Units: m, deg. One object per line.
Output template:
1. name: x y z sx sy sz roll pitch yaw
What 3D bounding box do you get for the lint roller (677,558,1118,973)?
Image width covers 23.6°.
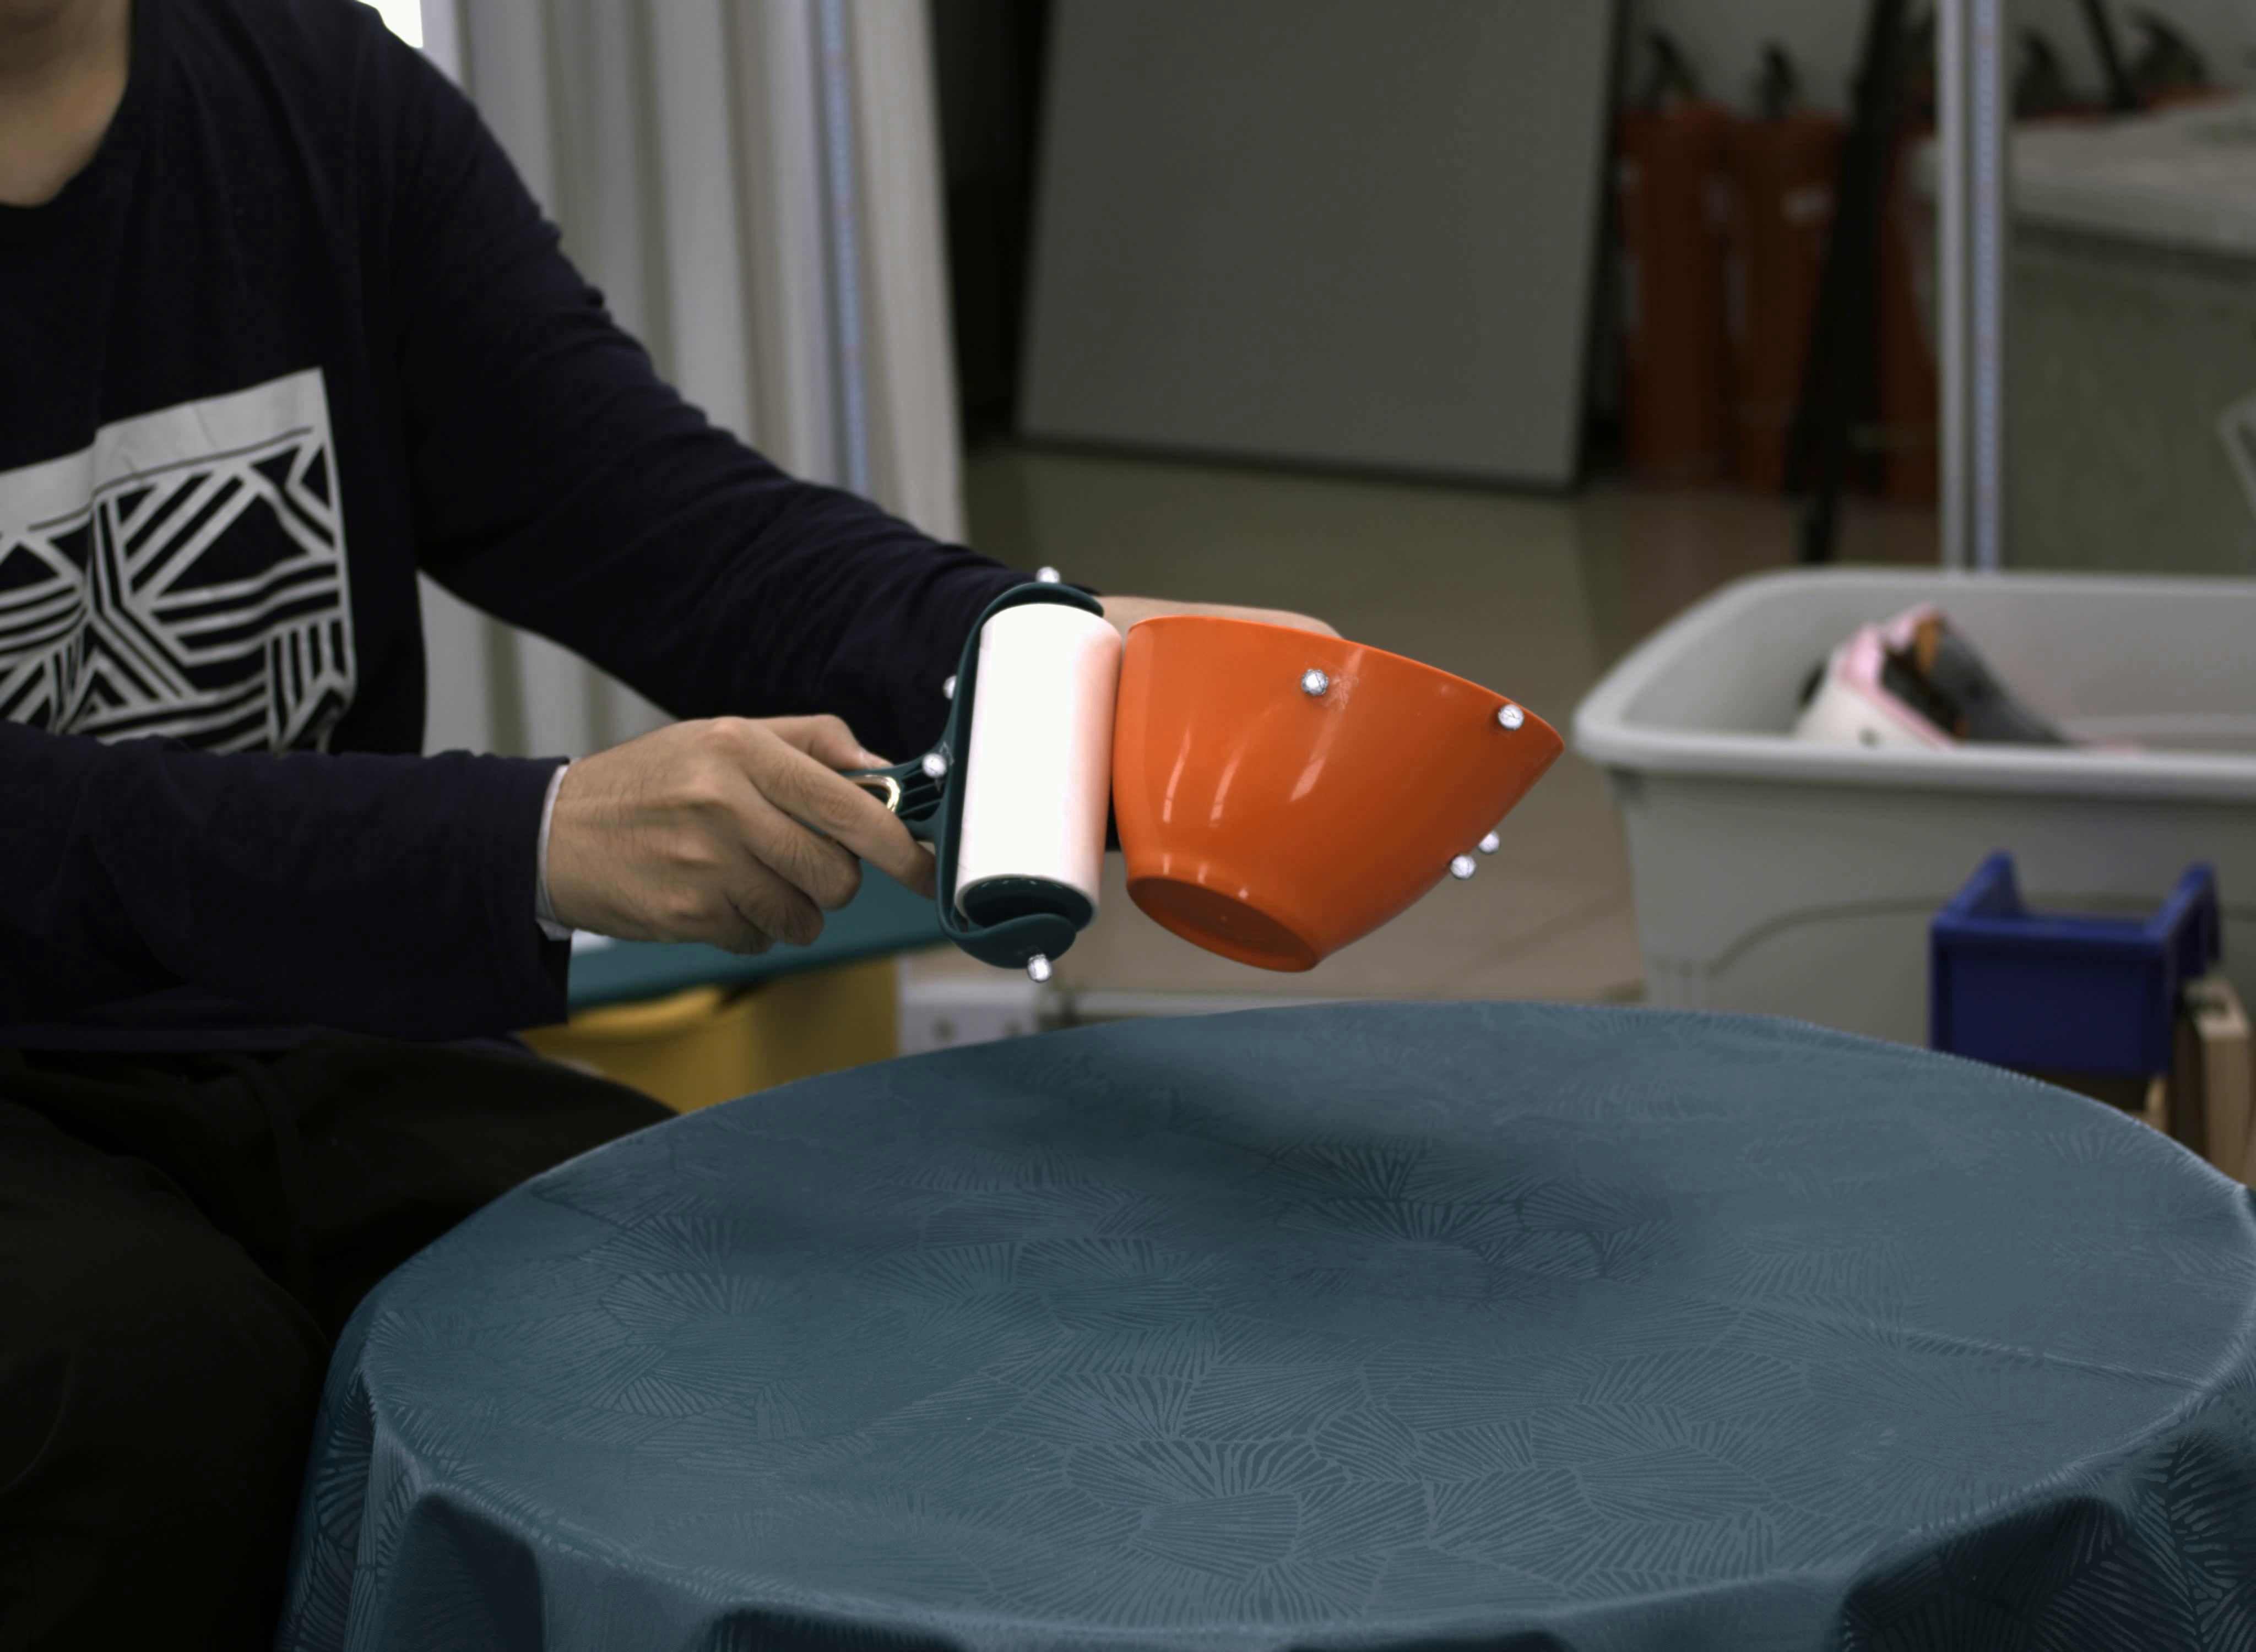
1. lint roller: -0.086 -0.006 1.778 0.181 0.136 0.047 -12 -32 29

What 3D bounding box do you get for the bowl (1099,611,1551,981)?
1. bowl: 0.052 -0.006 1.739 0.147 0.105 0.148 20 -19 6
